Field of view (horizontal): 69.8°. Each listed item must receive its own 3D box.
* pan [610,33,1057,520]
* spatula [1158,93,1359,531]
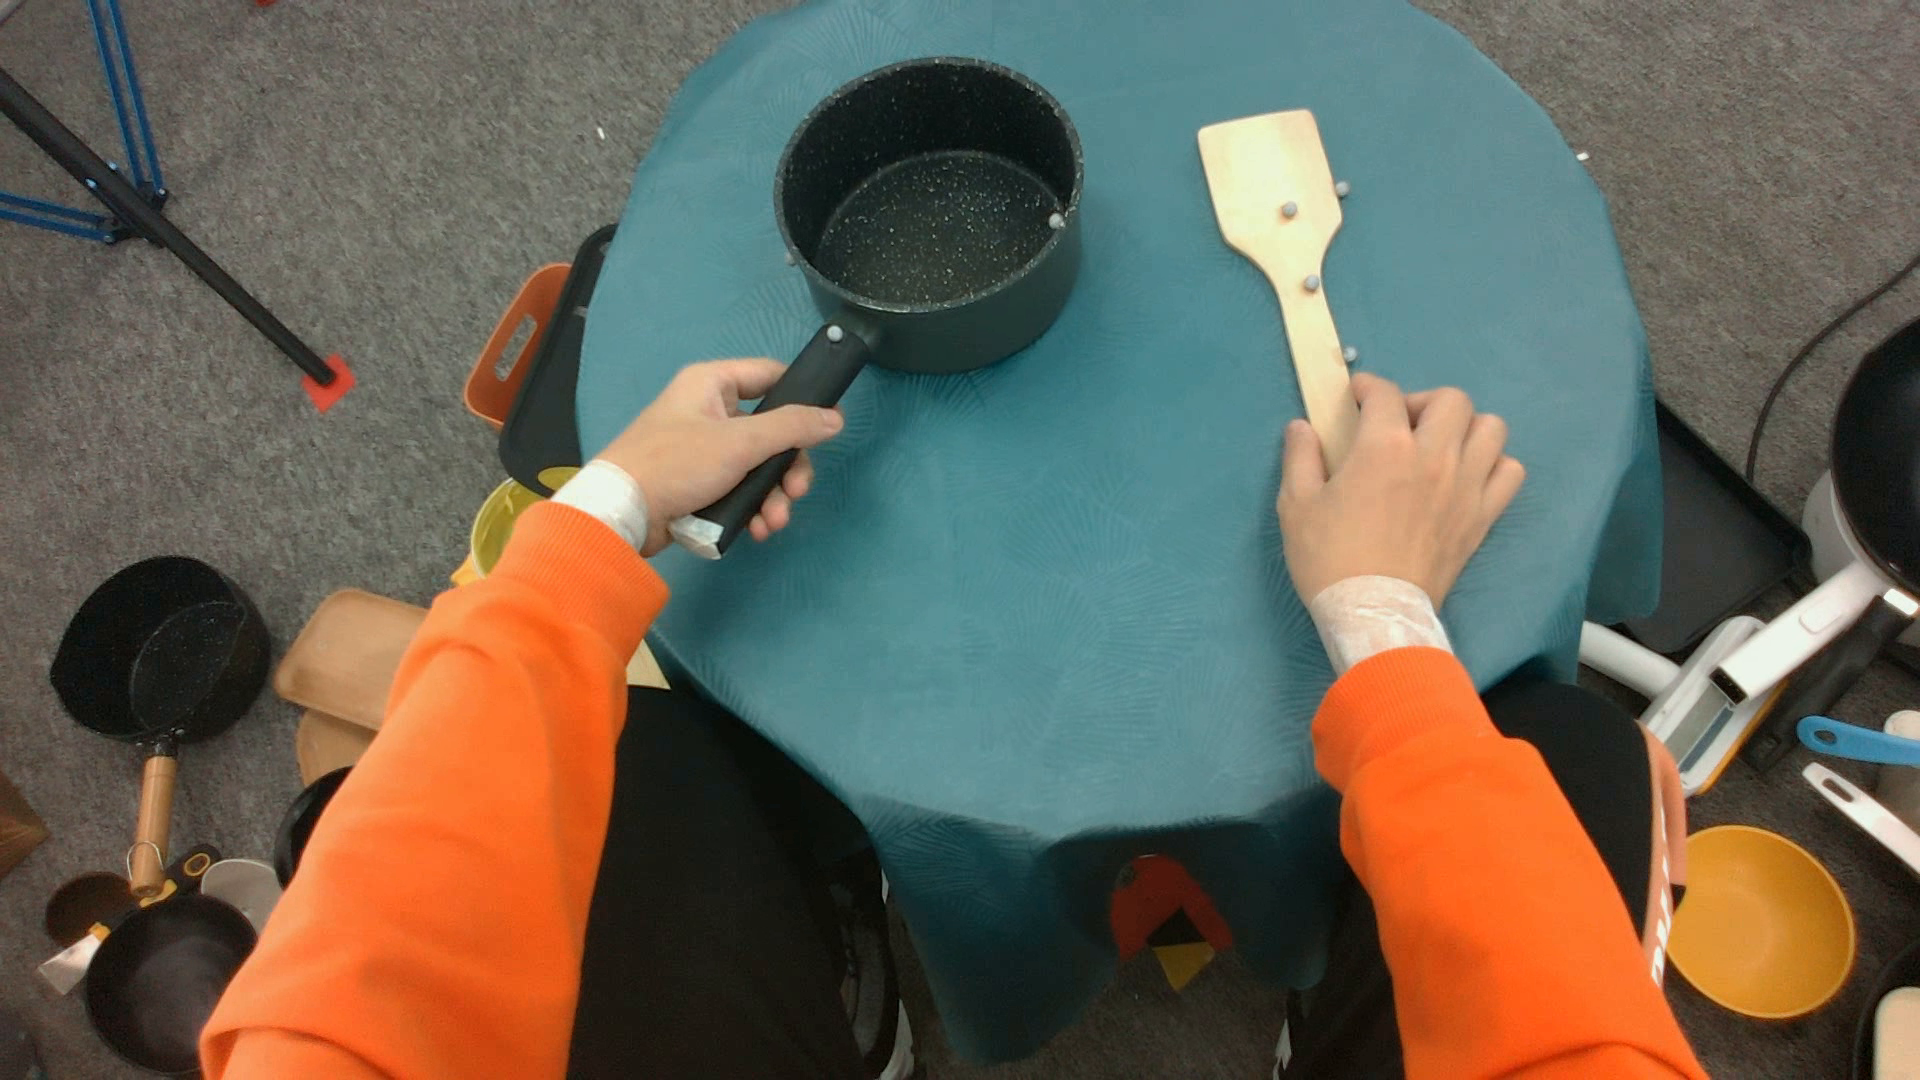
[{"bbox_3d":[-0.070,-0.133,0.752,0.172,0.086,0.330,27,70,18],"label":"pan"},{"bbox_3d":[0.176,-0.136,0.777,0.072,0.010,0.294,-9,65,0],"label":"spatula"}]
